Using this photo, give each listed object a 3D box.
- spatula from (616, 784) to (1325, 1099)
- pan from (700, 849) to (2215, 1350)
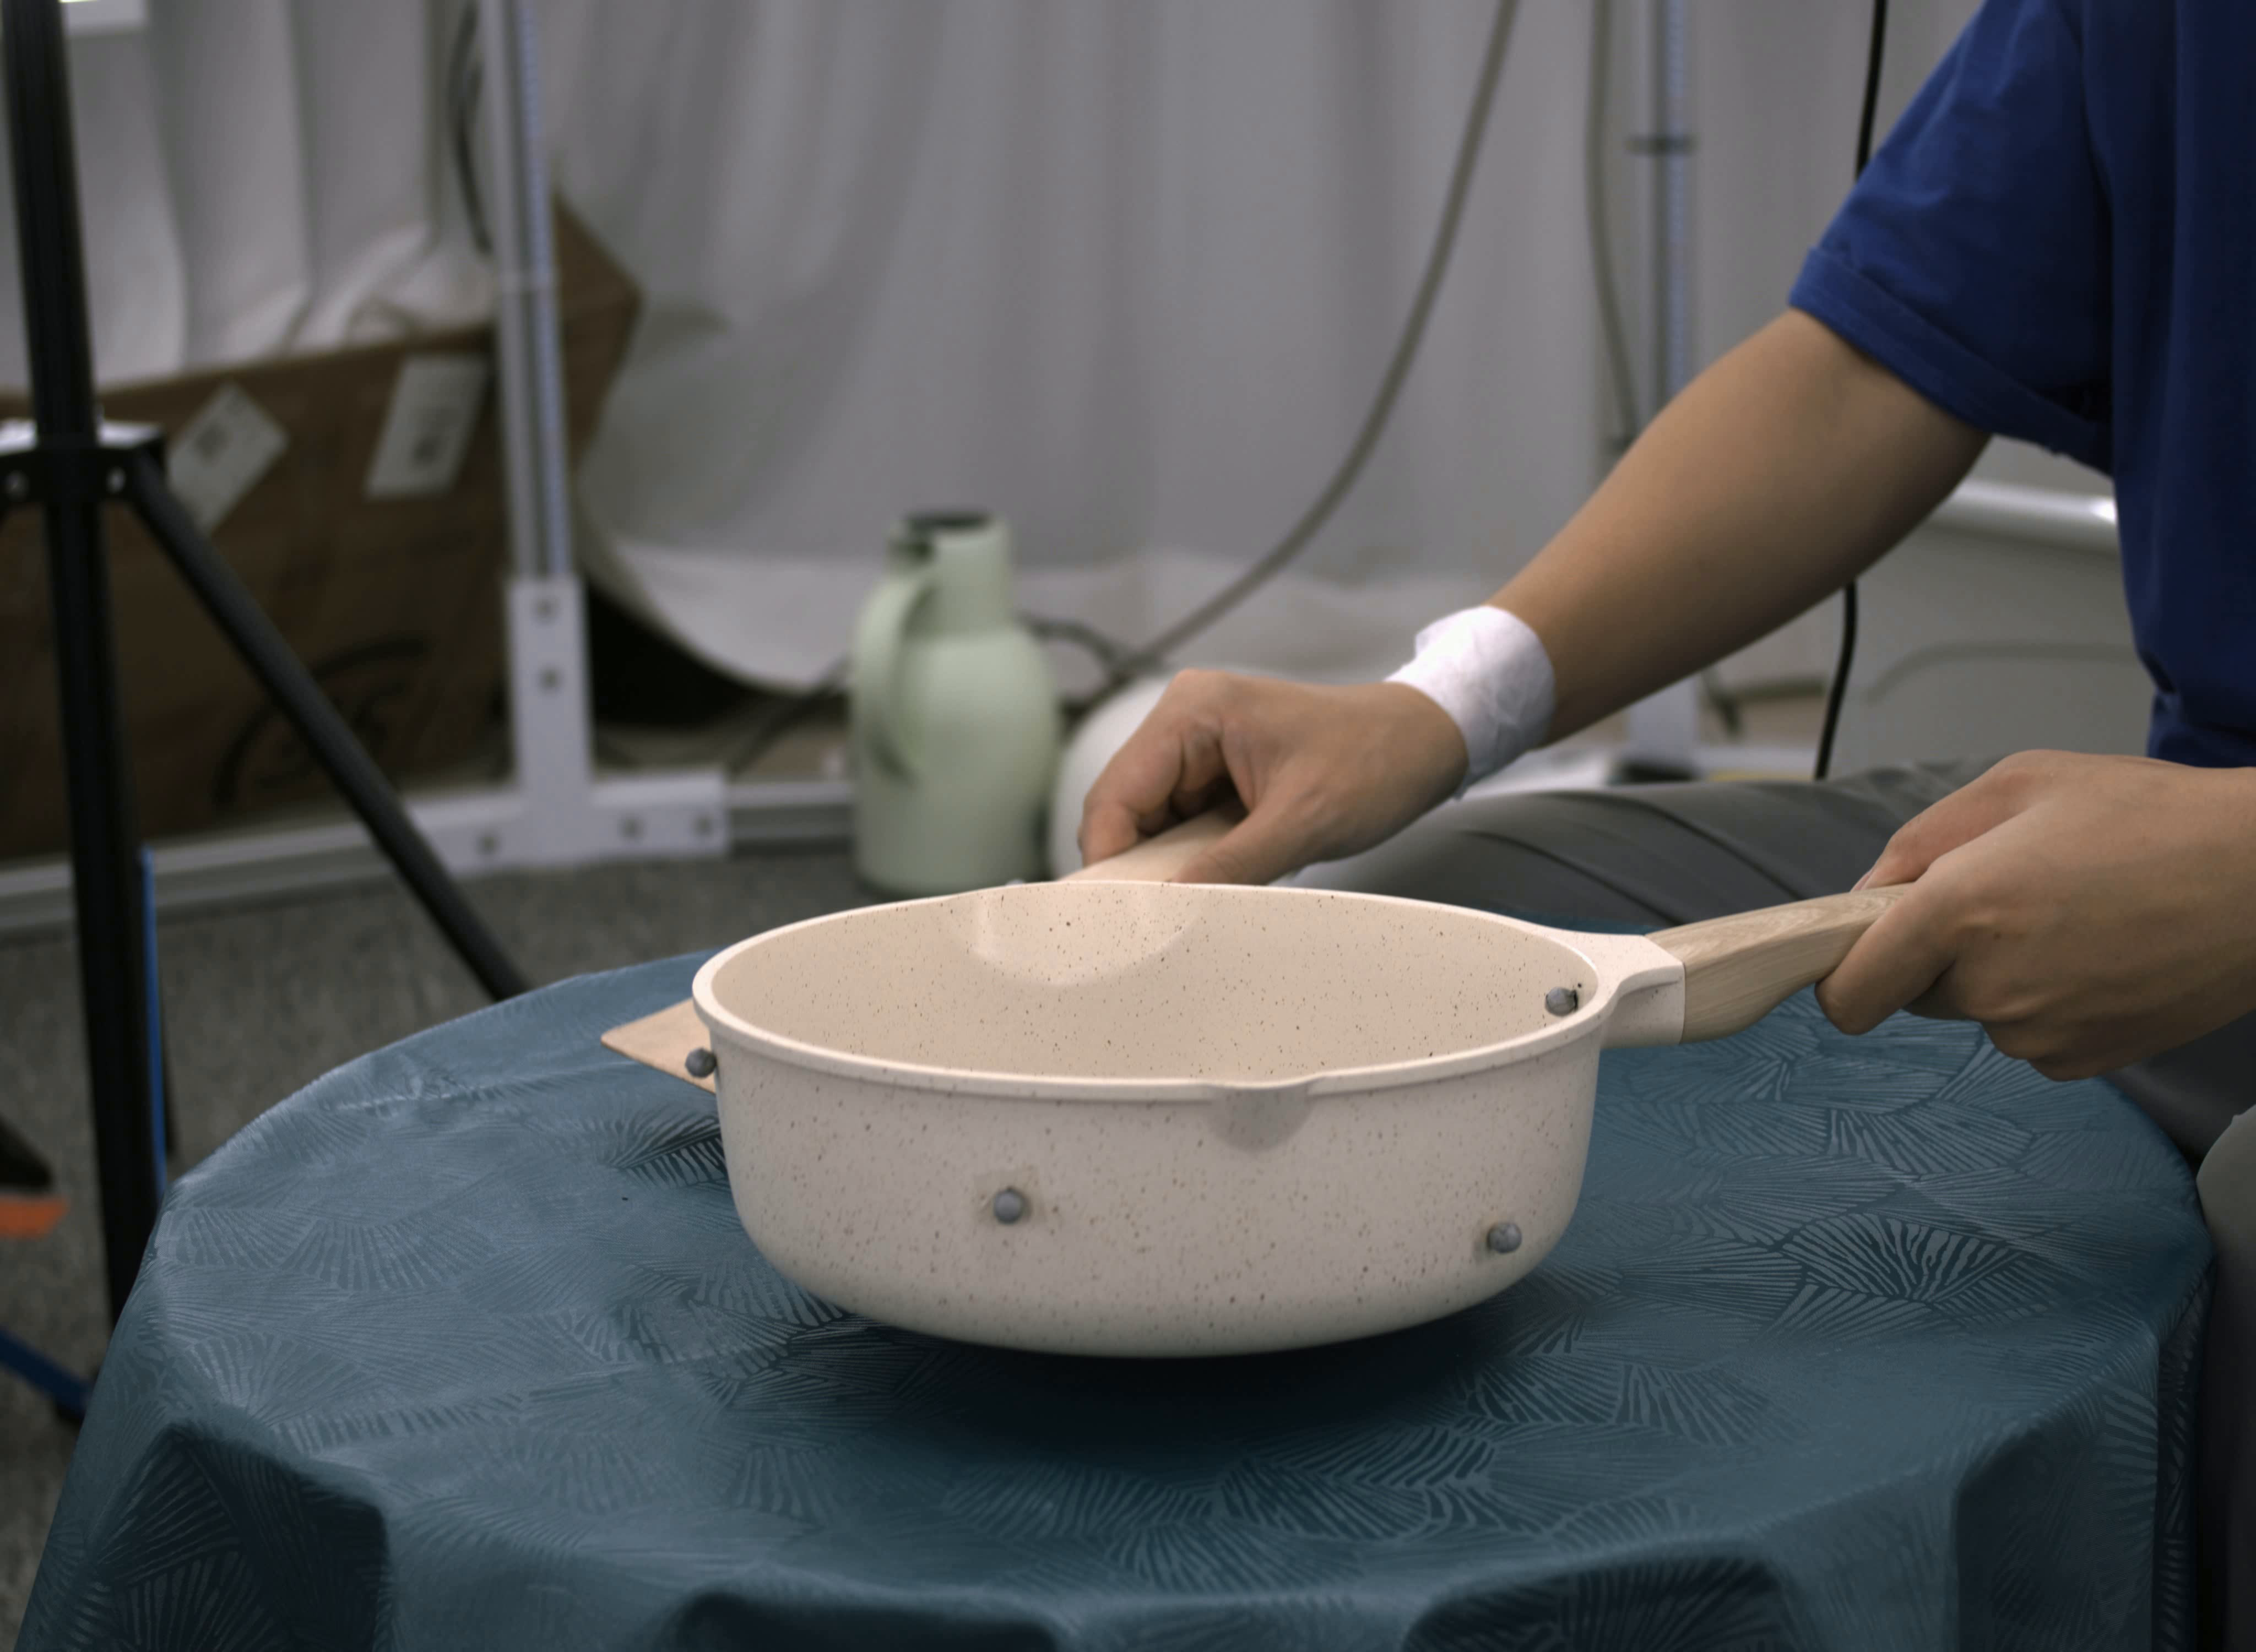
[{"bbox_3d":[-0.038,0.033,1.696,0.074,0.010,0.287,20,31,38],"label":"spatula"},{"bbox_3d":[0.099,0.068,1.453,0.429,0.102,0.266,-2,9,-12],"label":"pan"}]
